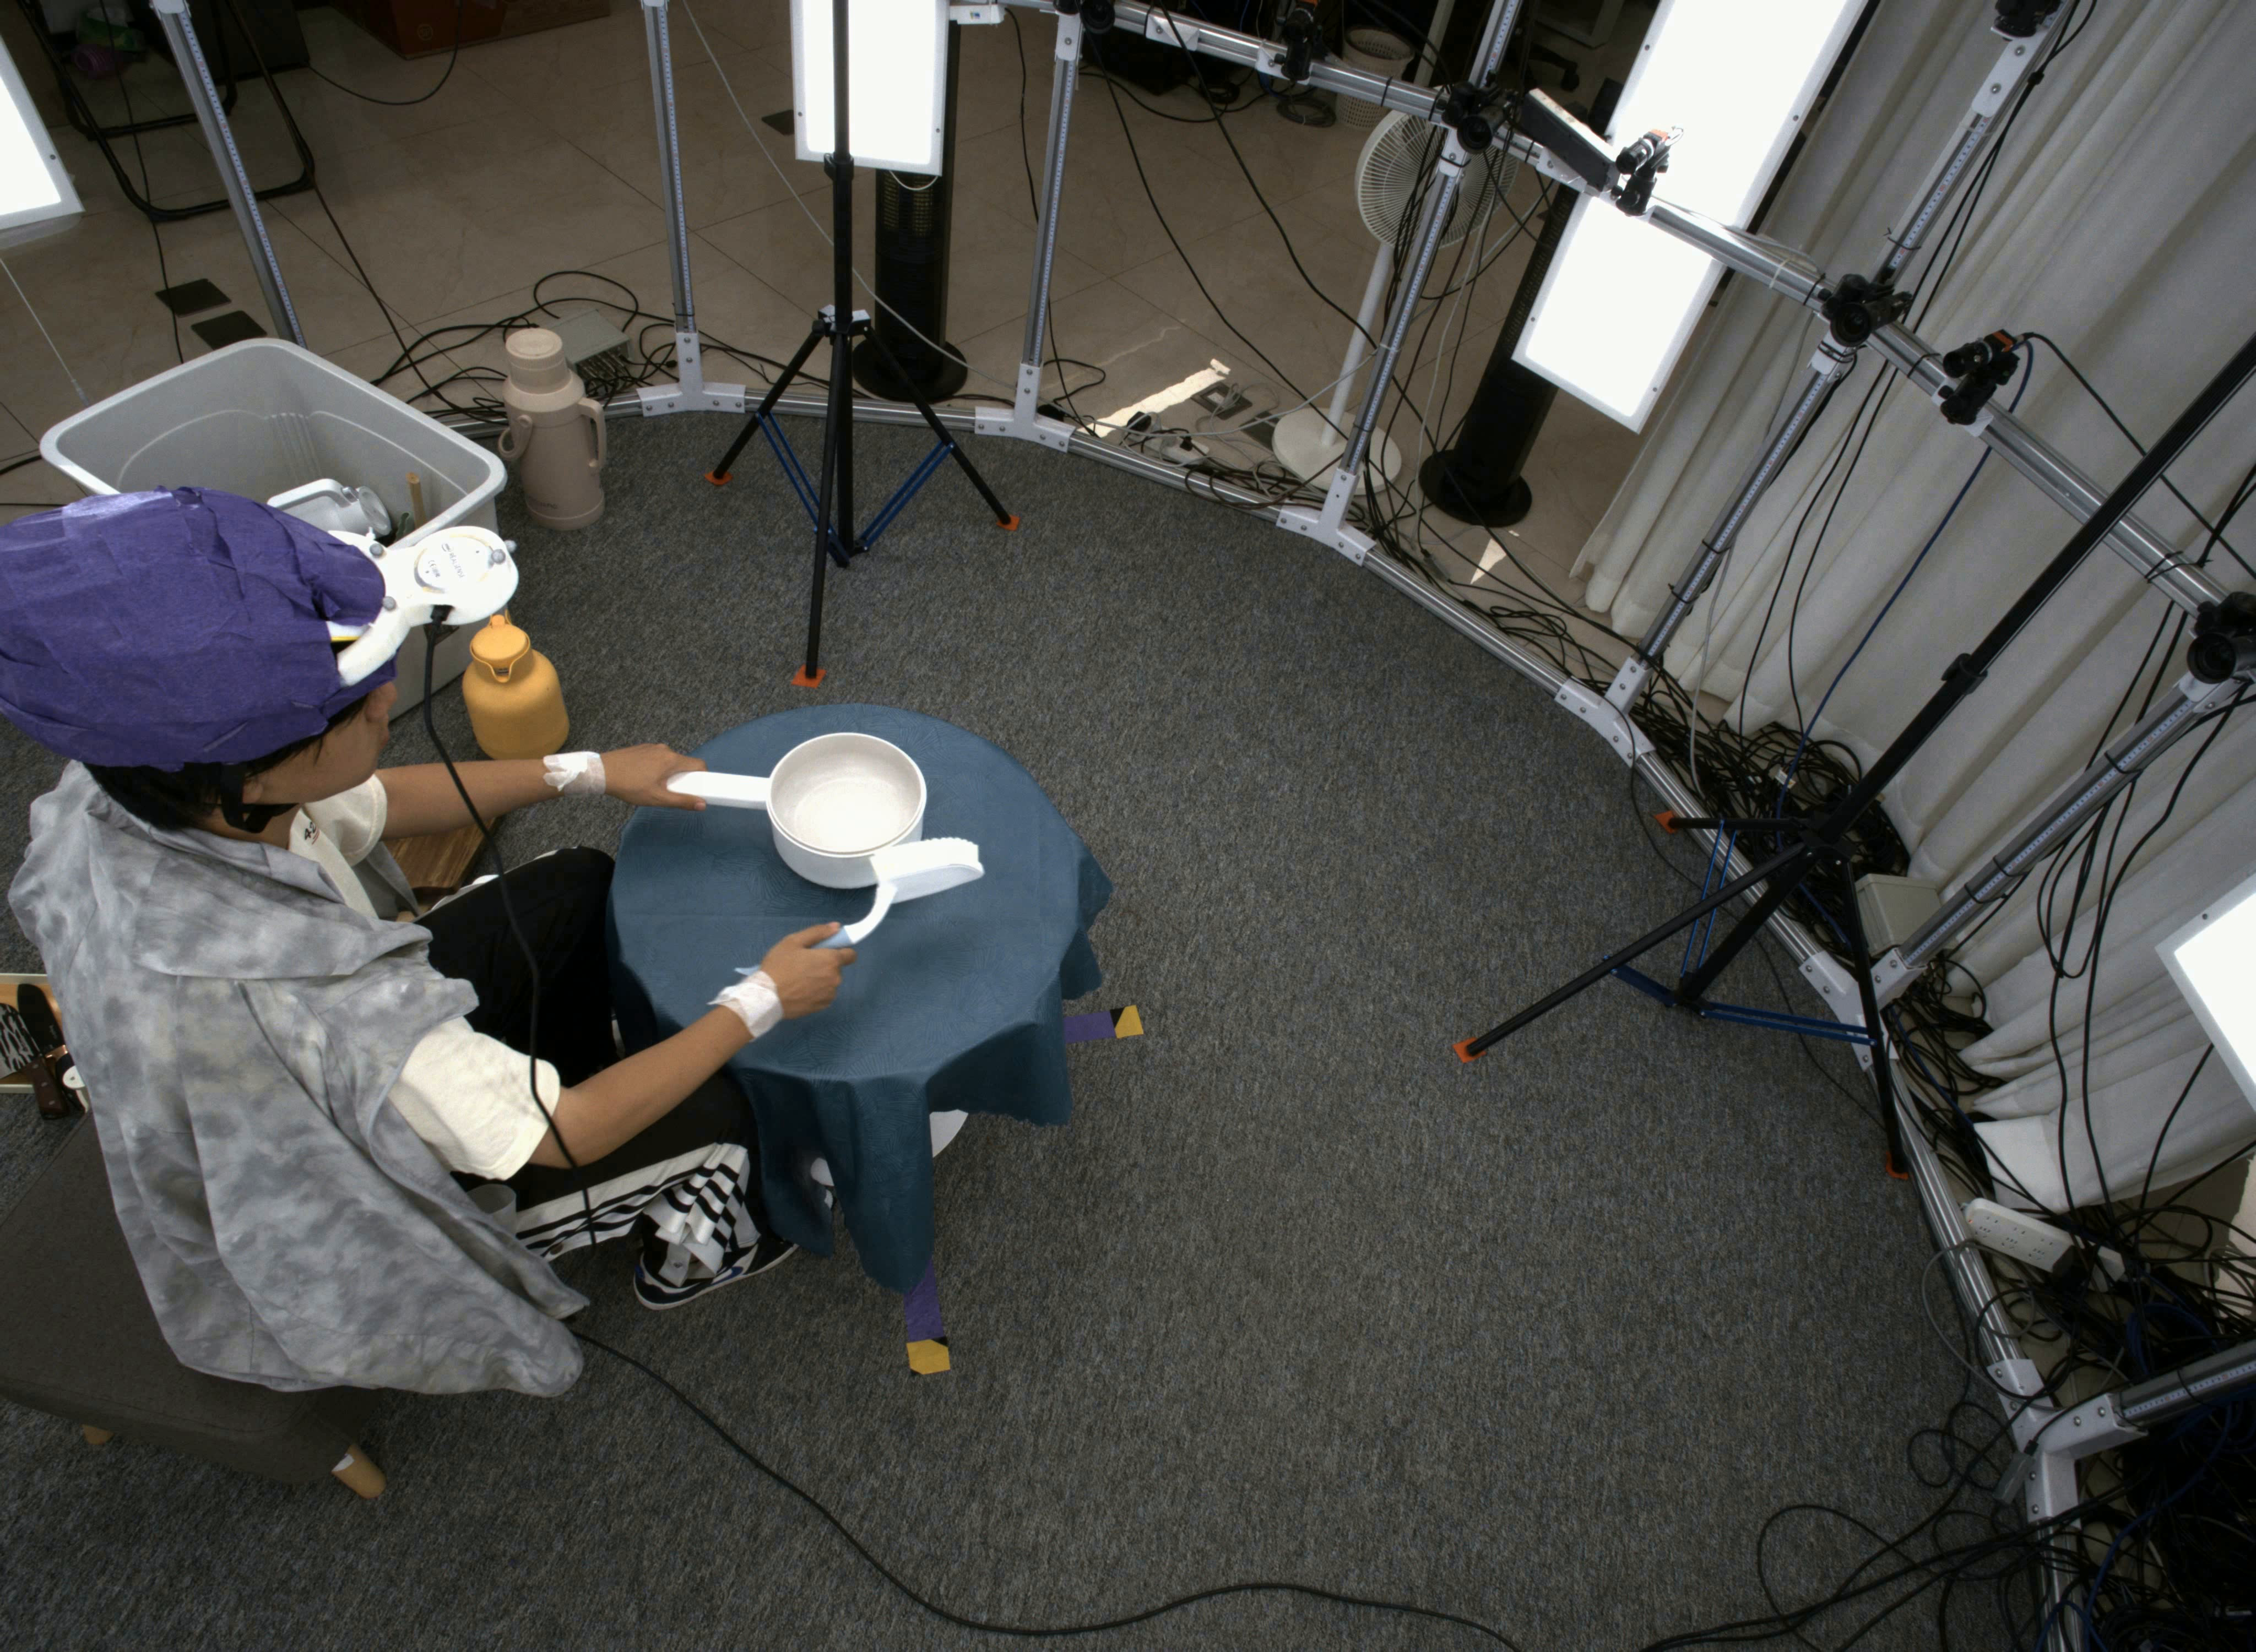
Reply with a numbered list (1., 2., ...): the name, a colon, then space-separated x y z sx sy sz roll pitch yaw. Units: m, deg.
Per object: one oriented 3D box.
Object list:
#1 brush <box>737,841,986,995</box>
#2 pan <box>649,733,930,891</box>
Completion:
1. brush: -0.324 0.091 1.547 0.326 0.086 0.081 -25 26 -22
2. pan: -0.433 -0.021 1.675 0.353 0.104 0.197 5 53 -8
